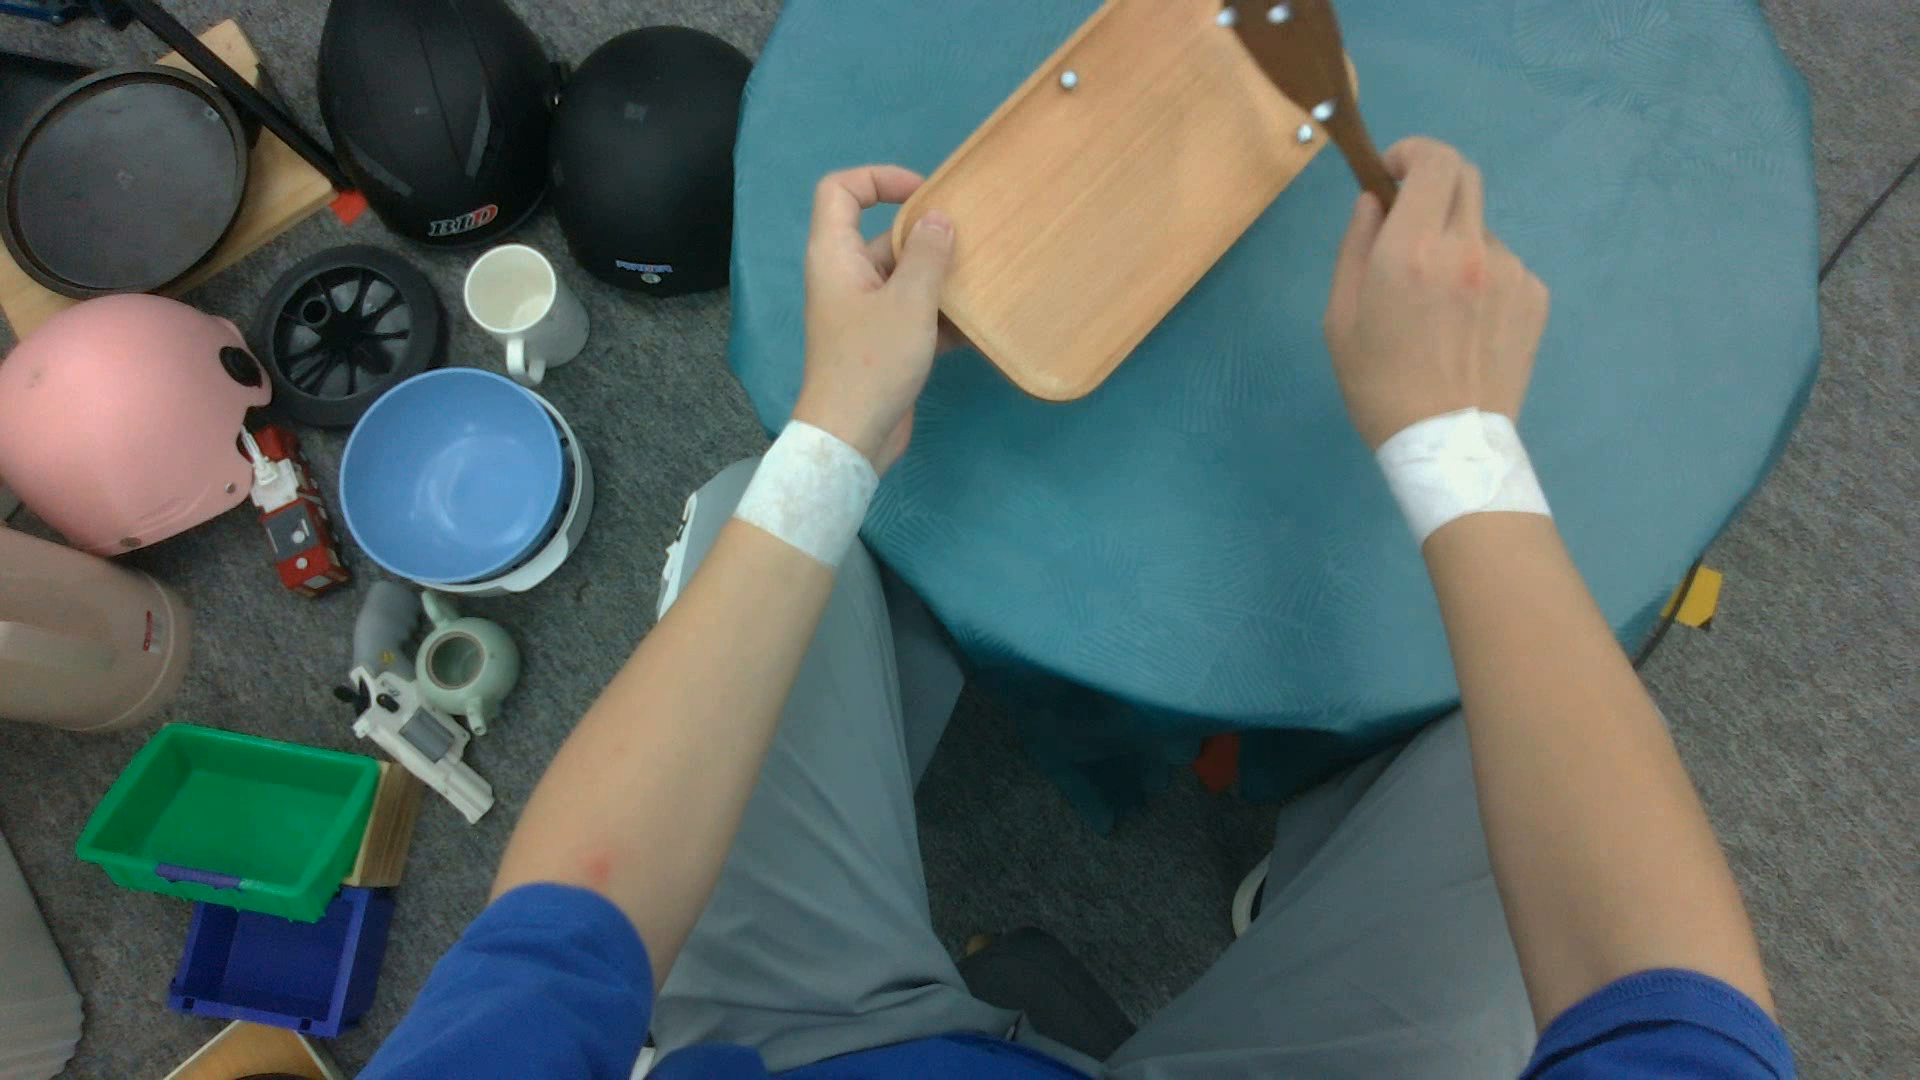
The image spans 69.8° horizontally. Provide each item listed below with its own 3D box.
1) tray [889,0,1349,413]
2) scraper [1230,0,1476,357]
[{"bbox_3d":[0.084,-0.181,0.695,0.130,0.023,0.251,43,77,2],"label":"tray"},{"bbox_3d":[0.191,-0.183,0.660,0.011,0.075,0.211,-26,85,-13],"label":"scraper"}]
